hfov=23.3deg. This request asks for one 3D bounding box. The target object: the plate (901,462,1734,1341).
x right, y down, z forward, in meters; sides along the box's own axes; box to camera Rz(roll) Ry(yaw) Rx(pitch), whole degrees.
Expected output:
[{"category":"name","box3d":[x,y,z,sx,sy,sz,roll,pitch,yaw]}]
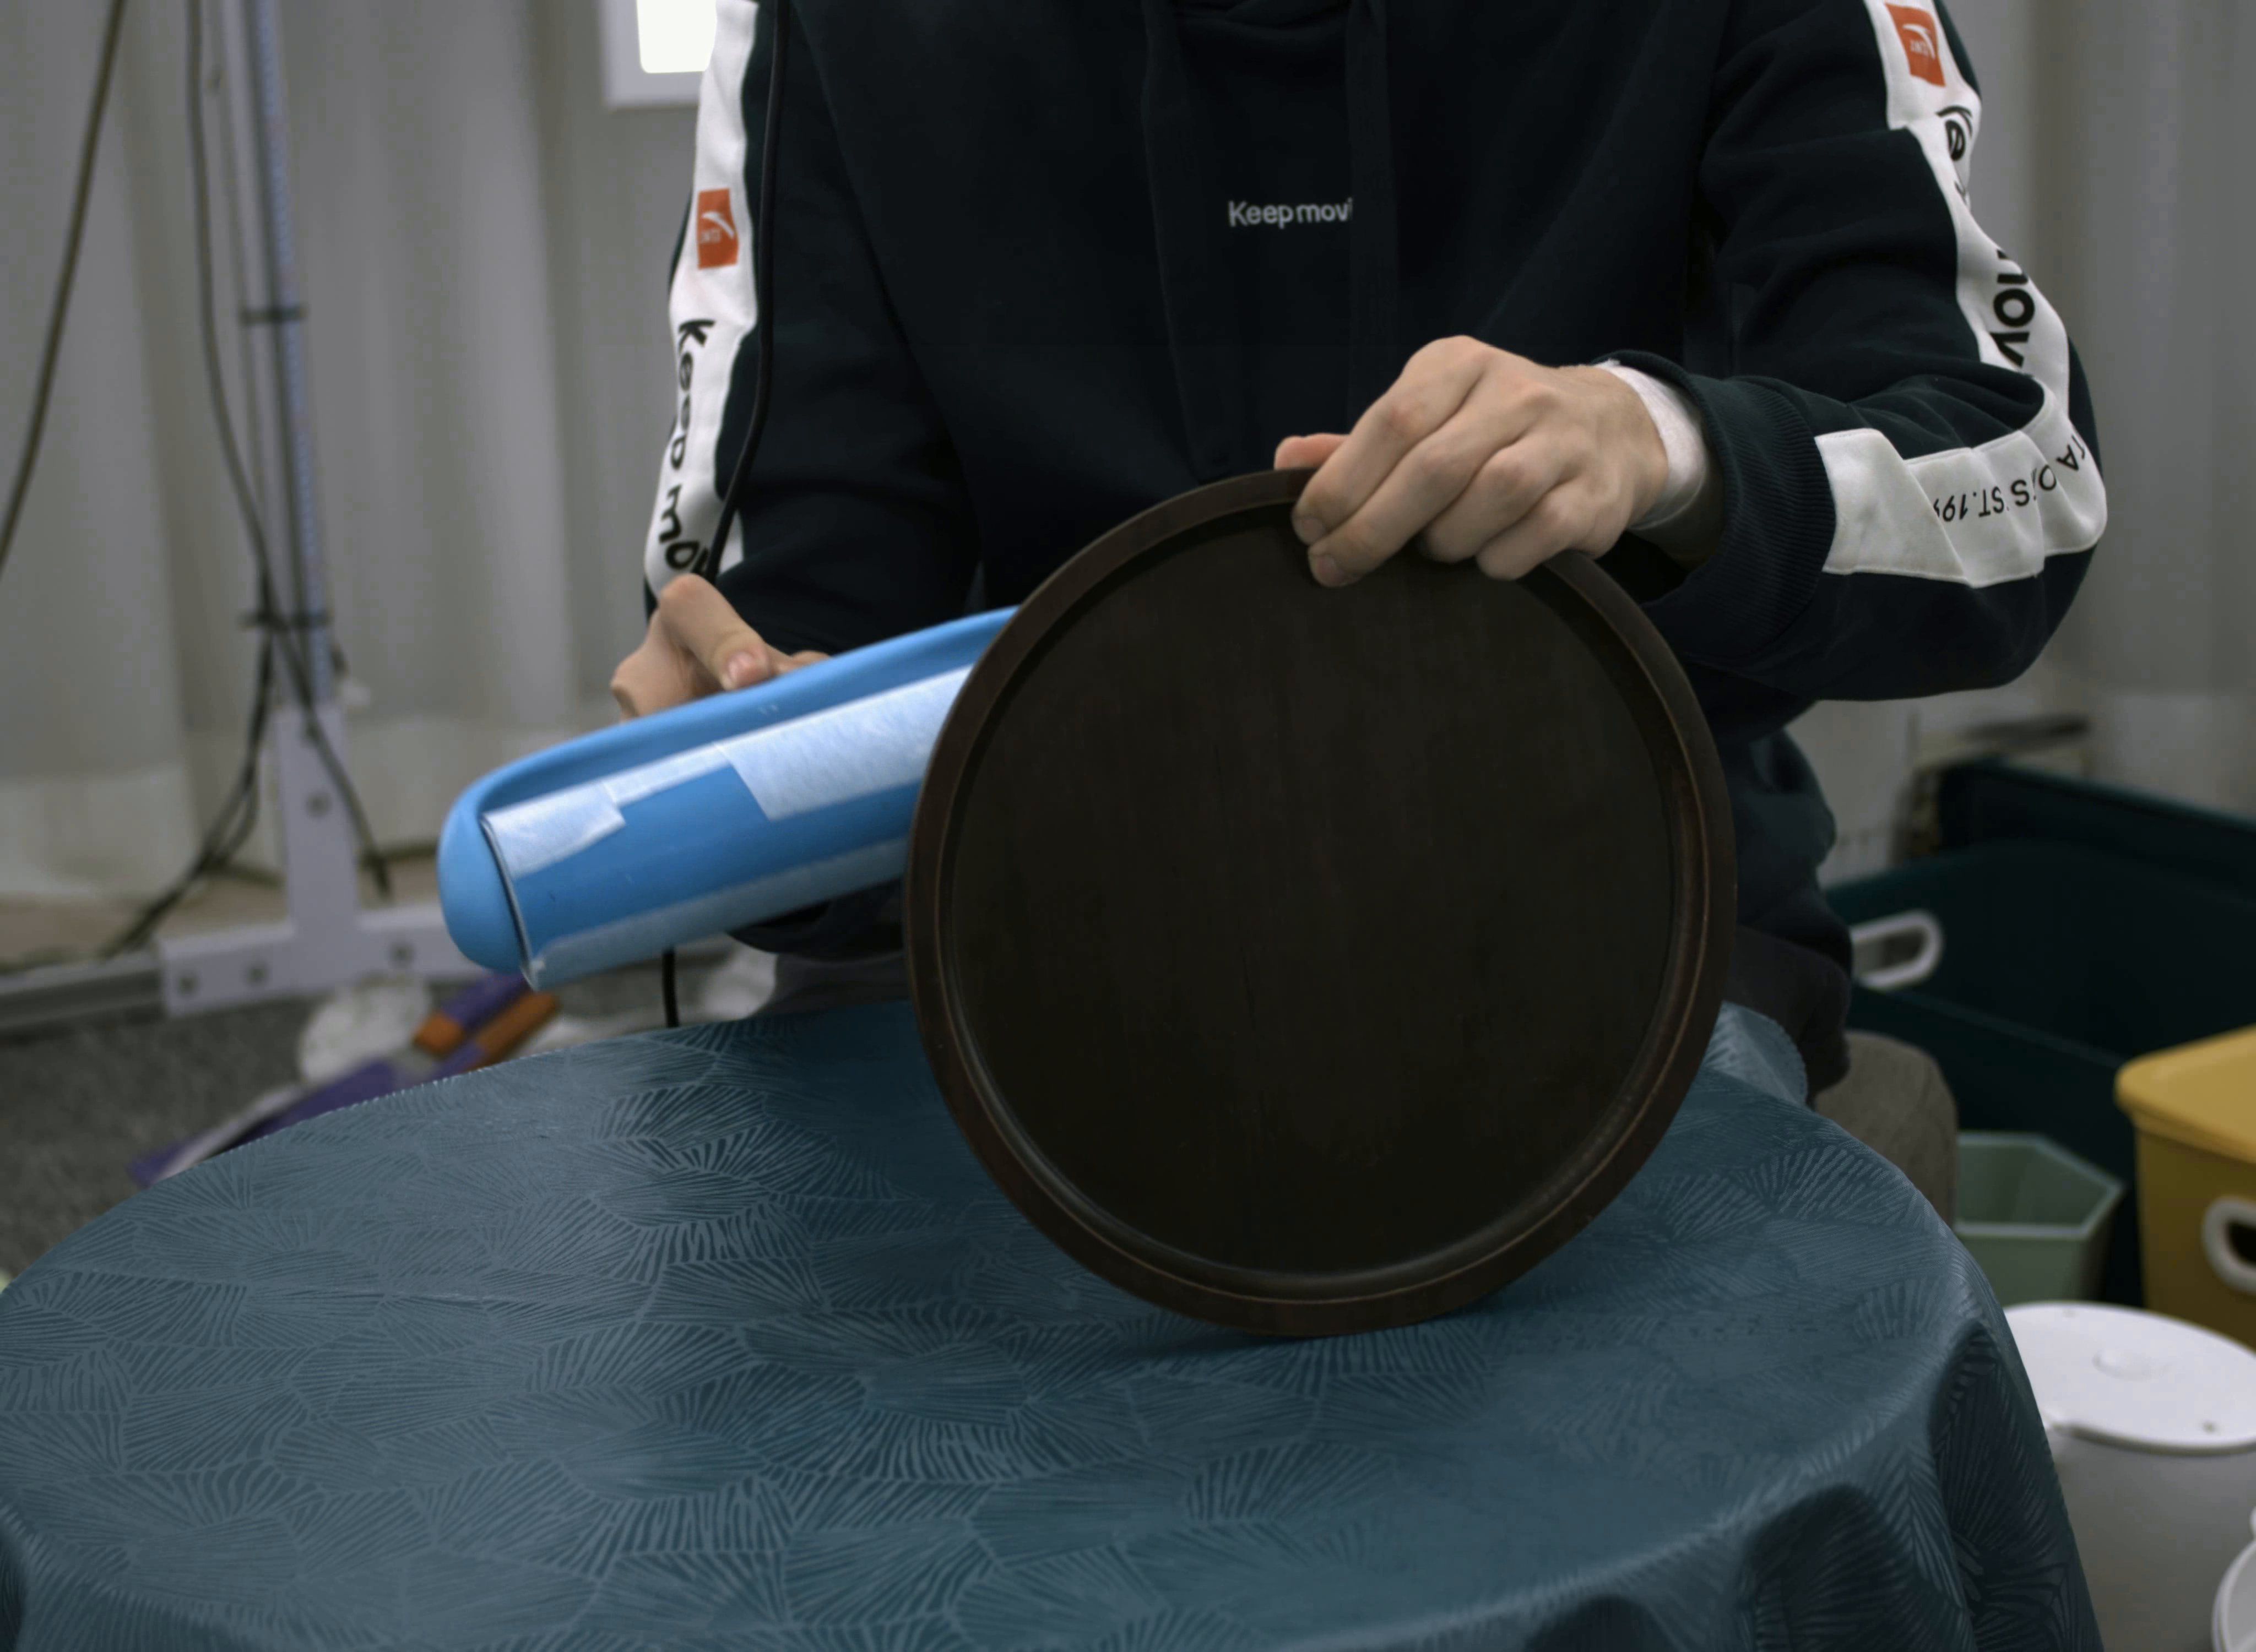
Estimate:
[{"category":"plate","box3d":[0.055,0.022,1.576,0.253,0.255,0.029,-7,6,-17]}]

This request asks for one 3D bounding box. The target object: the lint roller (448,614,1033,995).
[{"category":"lint roller","box3d":[-0.105,-0.011,1.664,0.228,0.068,0.181,-19,10,-14]}]
